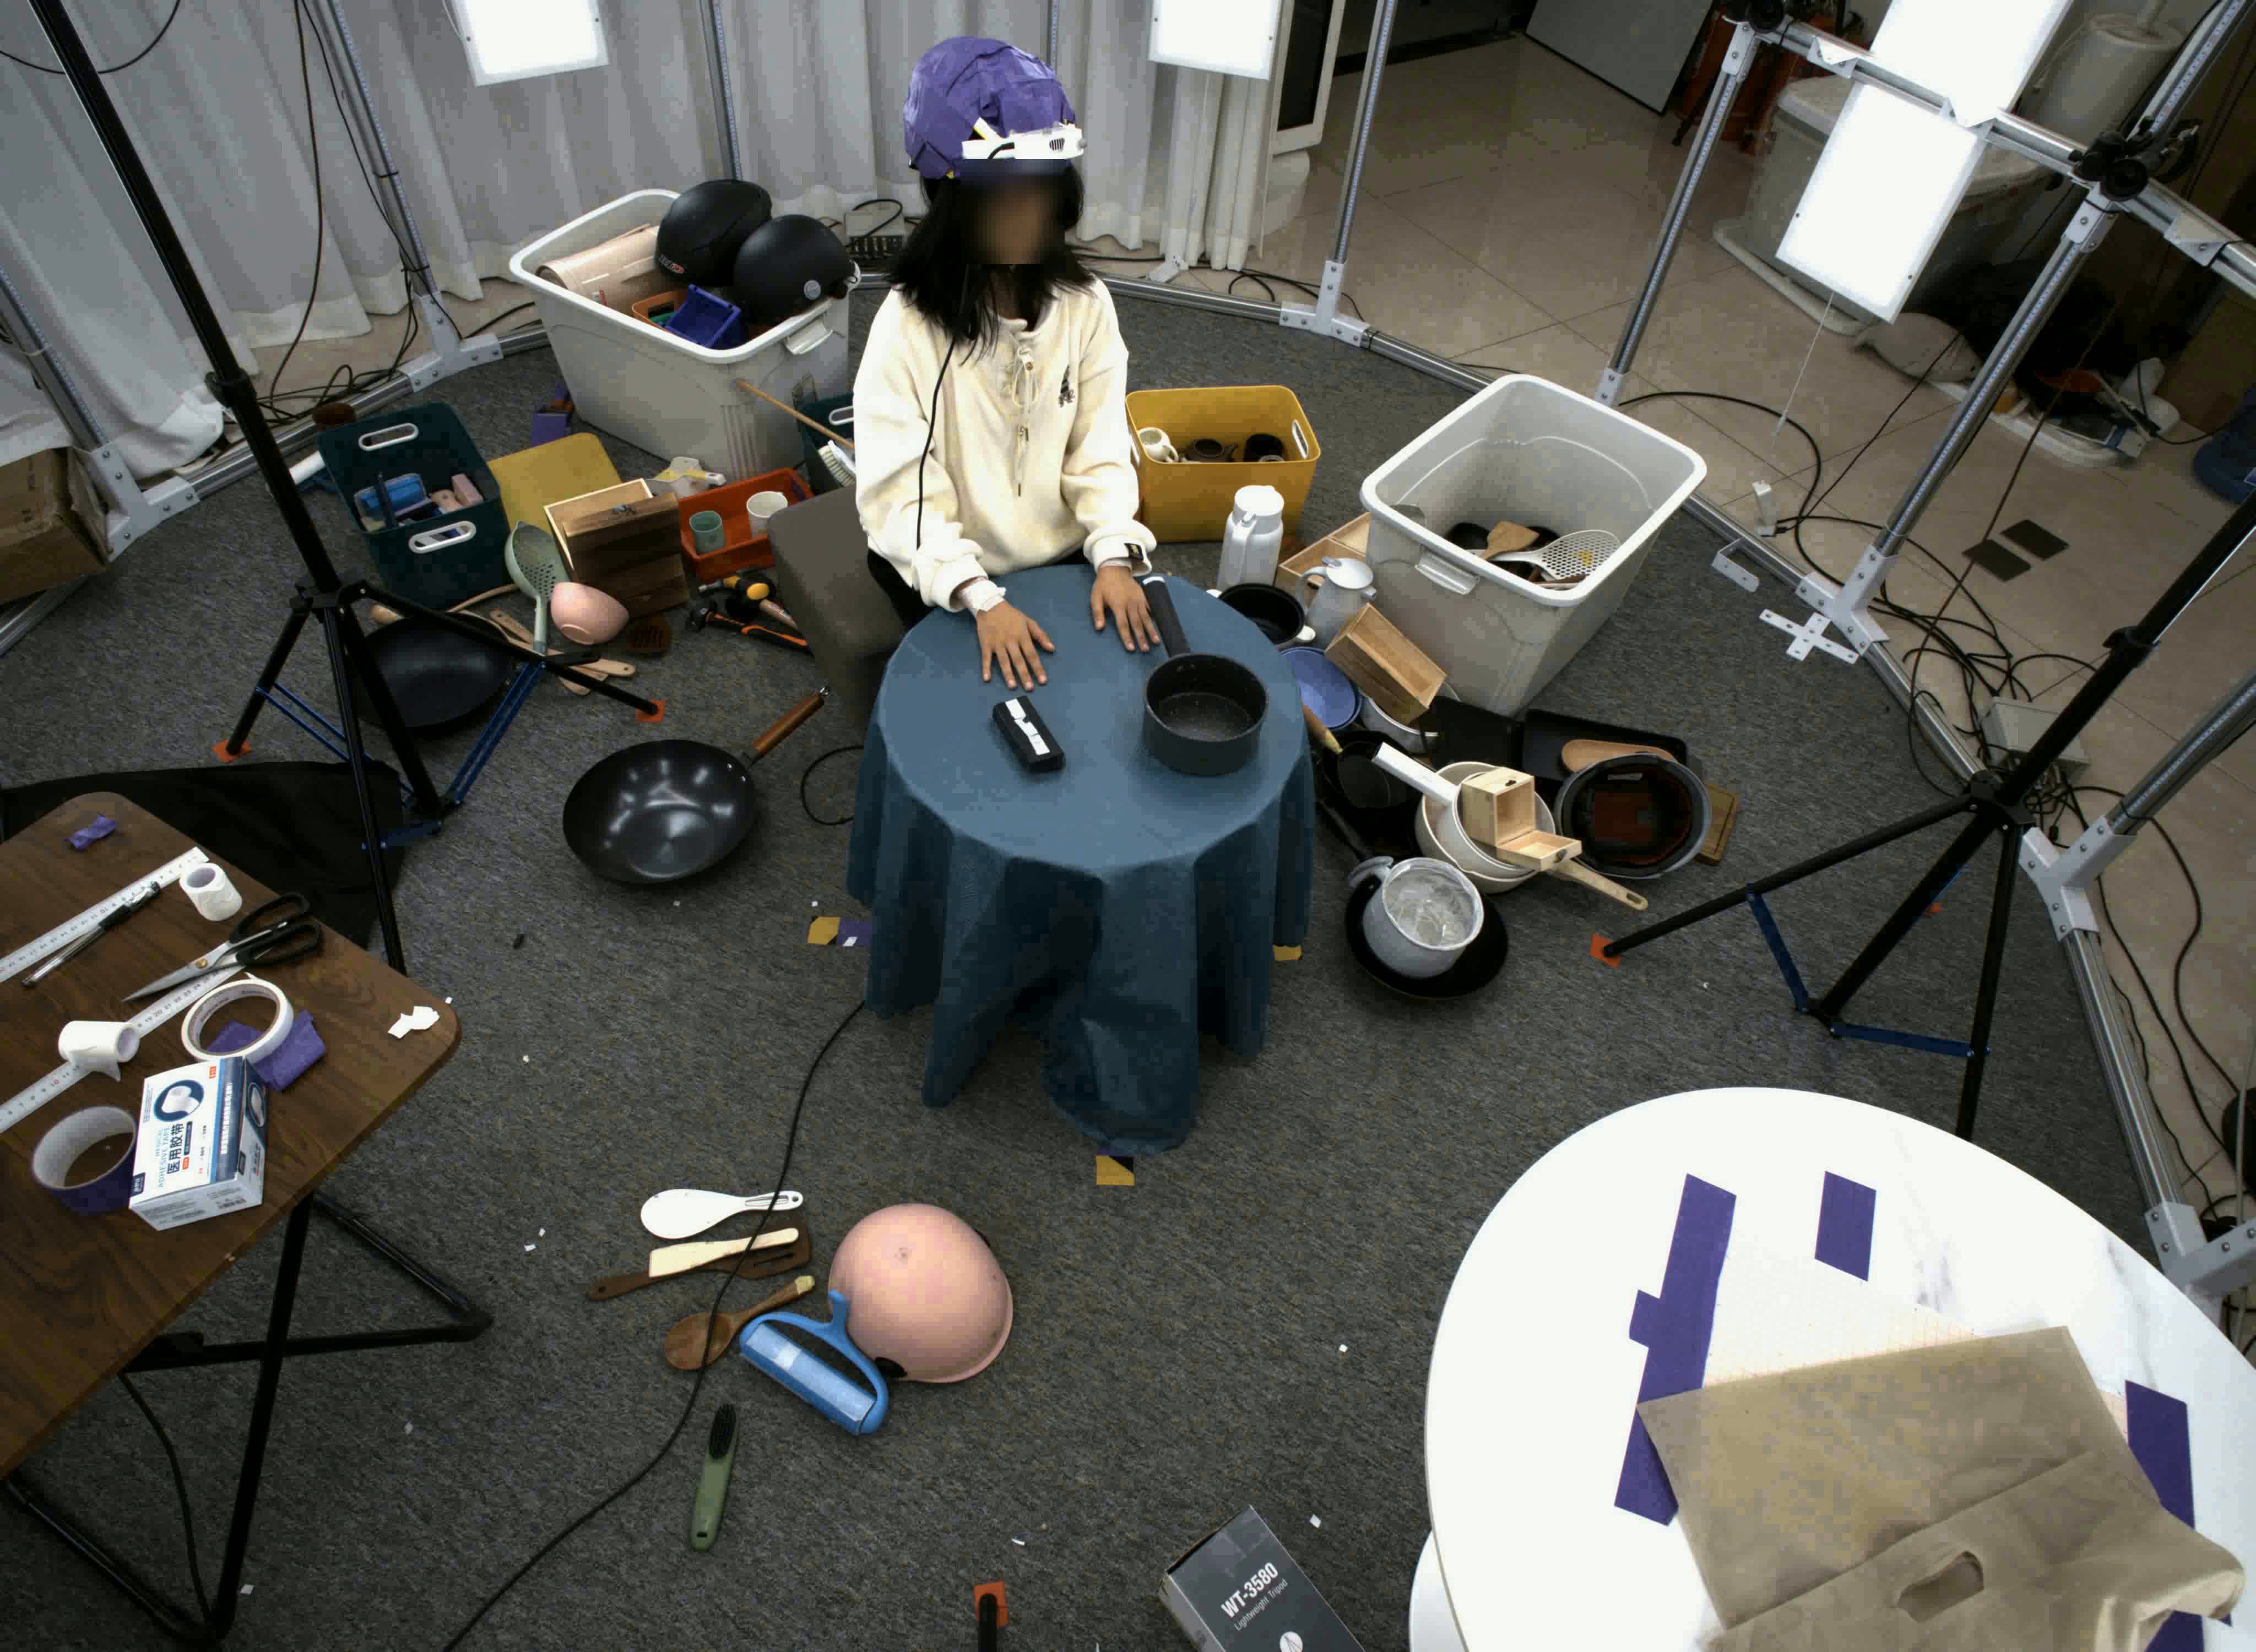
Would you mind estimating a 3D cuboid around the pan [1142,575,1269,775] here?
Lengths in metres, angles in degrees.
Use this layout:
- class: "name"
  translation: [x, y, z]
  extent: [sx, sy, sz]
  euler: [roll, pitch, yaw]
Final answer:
- class: "pan"
  translation: [0.083, -0.215, 1.808]
  extent: [0.172, 0.084, 0.337]
  euler: [-9, 52, -12]

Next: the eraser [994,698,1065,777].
- class: "eraser"
  translation: [-0.134, -0.122, 1.750]
  extent: [0.053, 0.030, 0.128]
  euler: [-18, 51, -19]
